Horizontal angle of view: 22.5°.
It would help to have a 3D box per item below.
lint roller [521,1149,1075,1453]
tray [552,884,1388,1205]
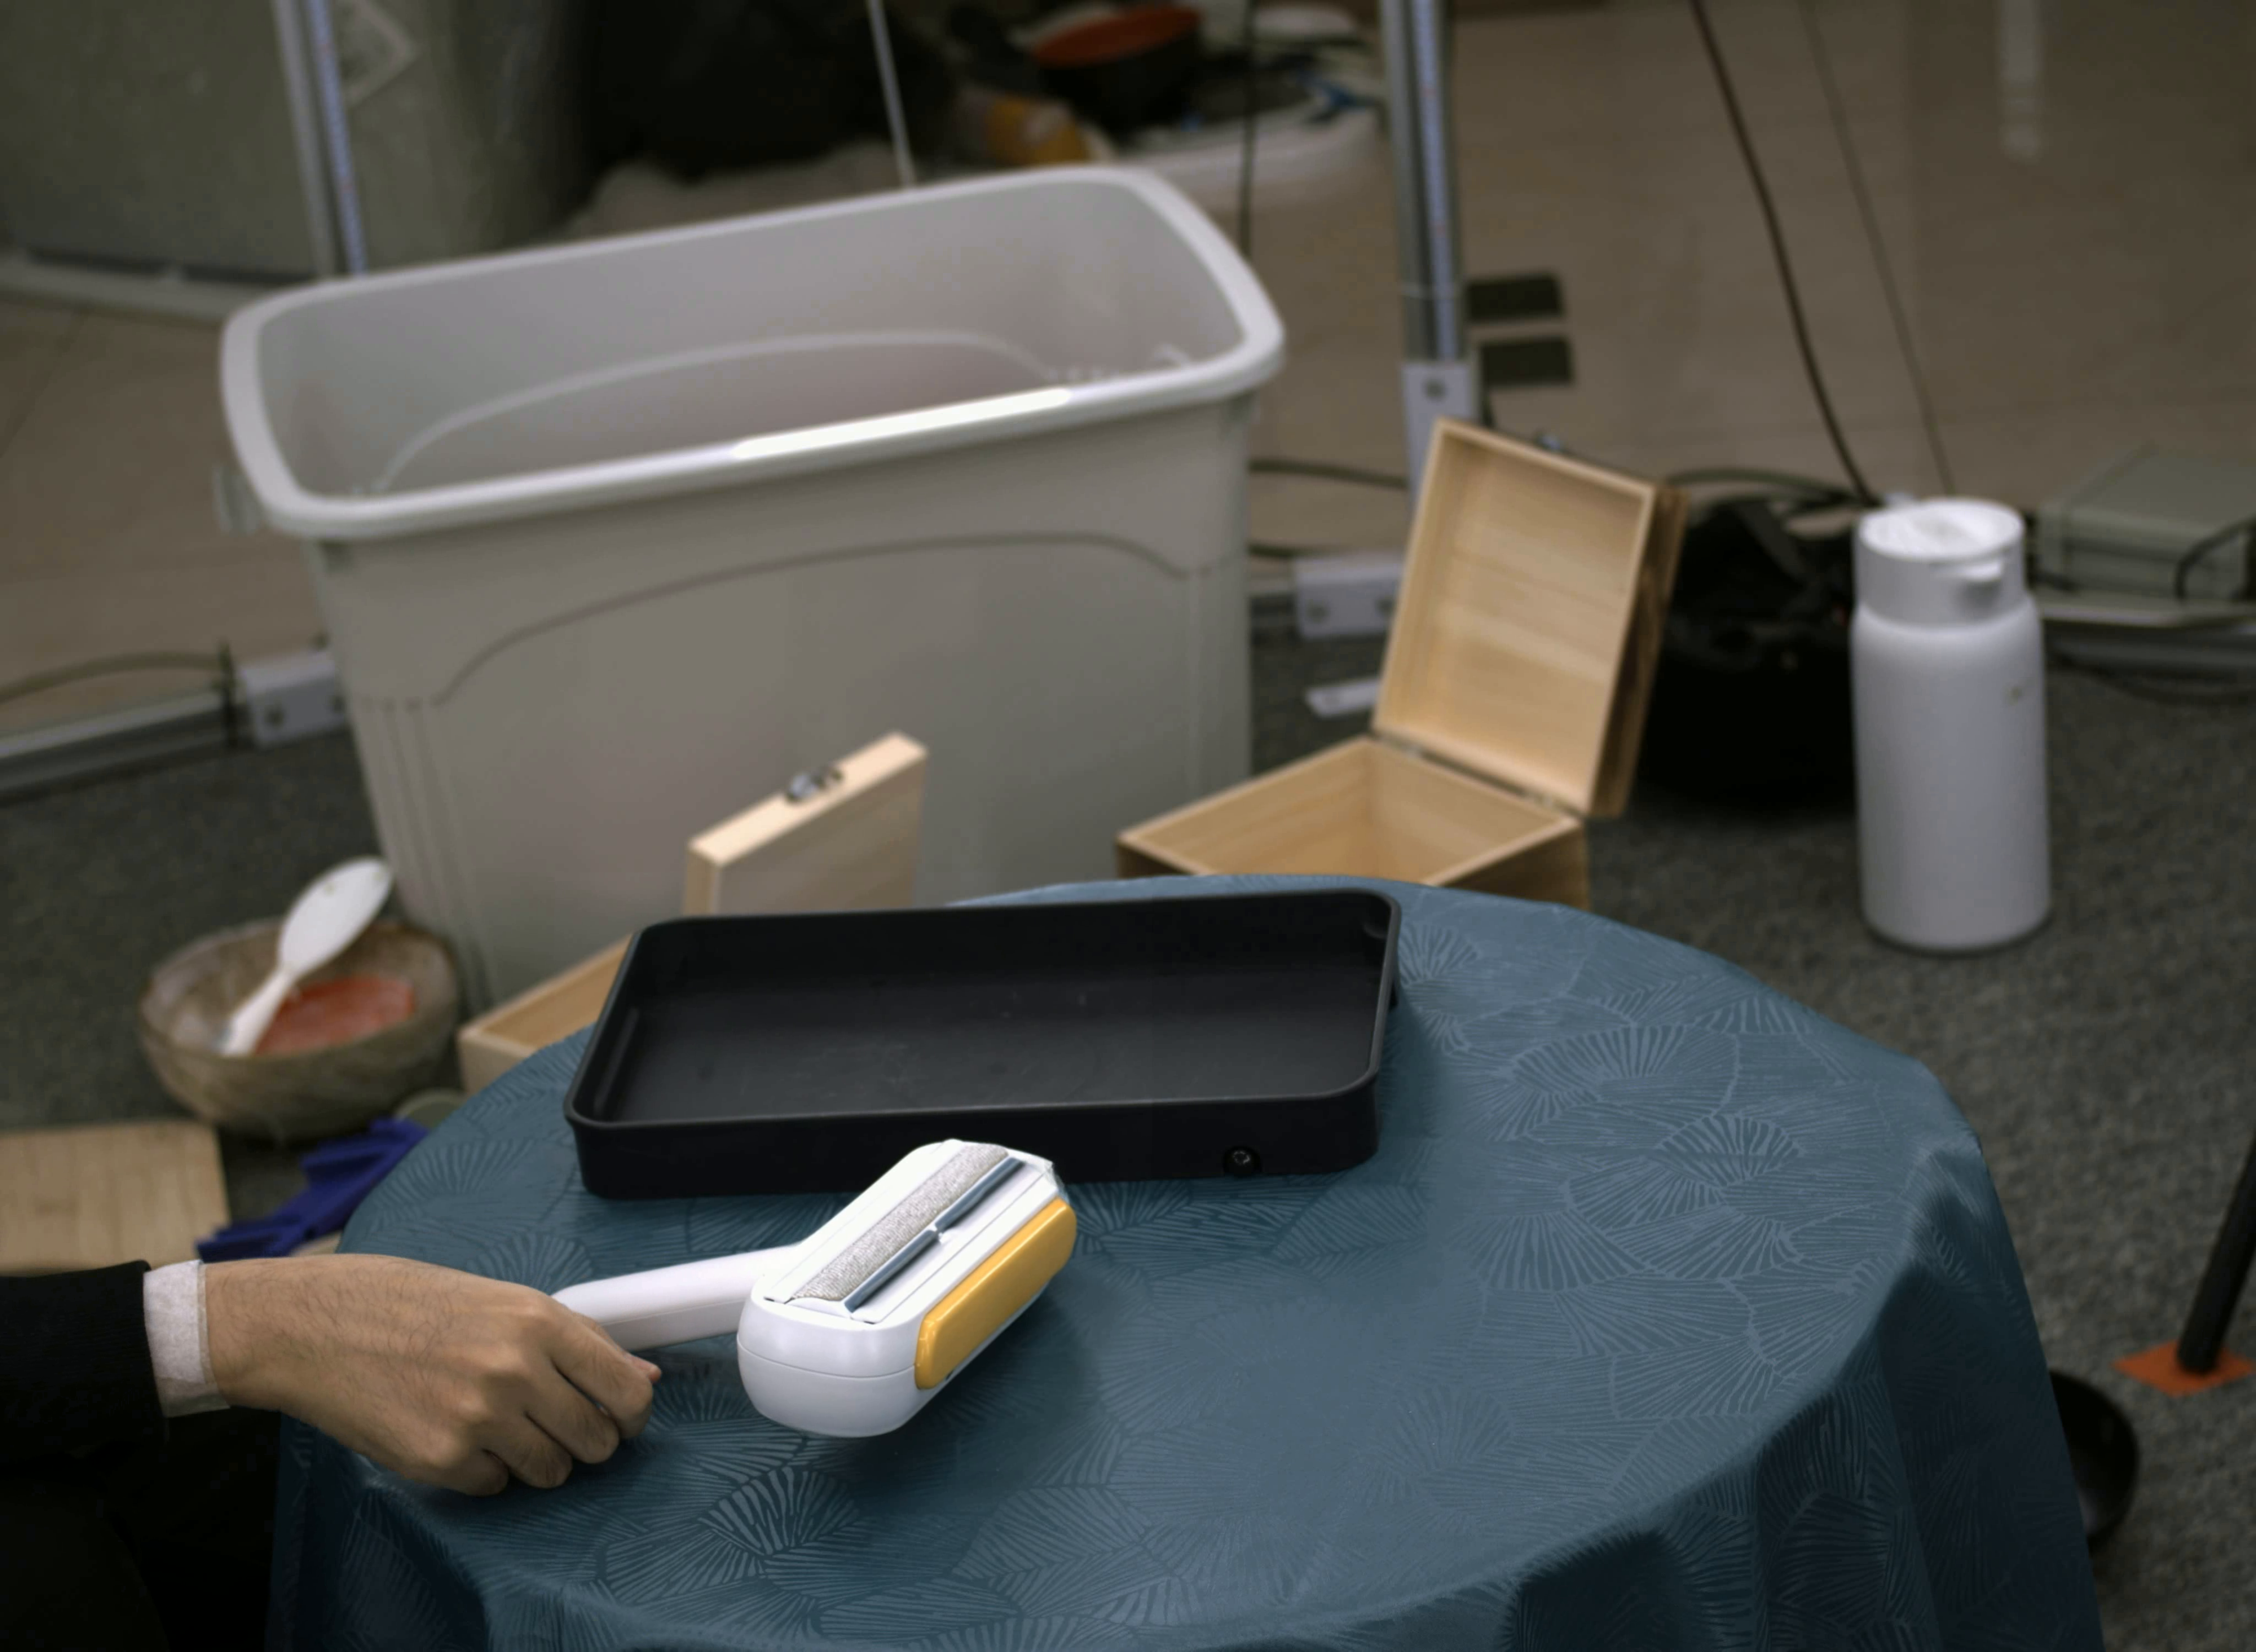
[{"bbox_3d":[-0.133,0.168,2.033,0.192,0.075,0.191,4,22,24],"label":"lint roller"},{"bbox_3d":[-0.058,0.085,2.233,0.317,0.037,0.181,-3,26,6],"label":"tray"}]
